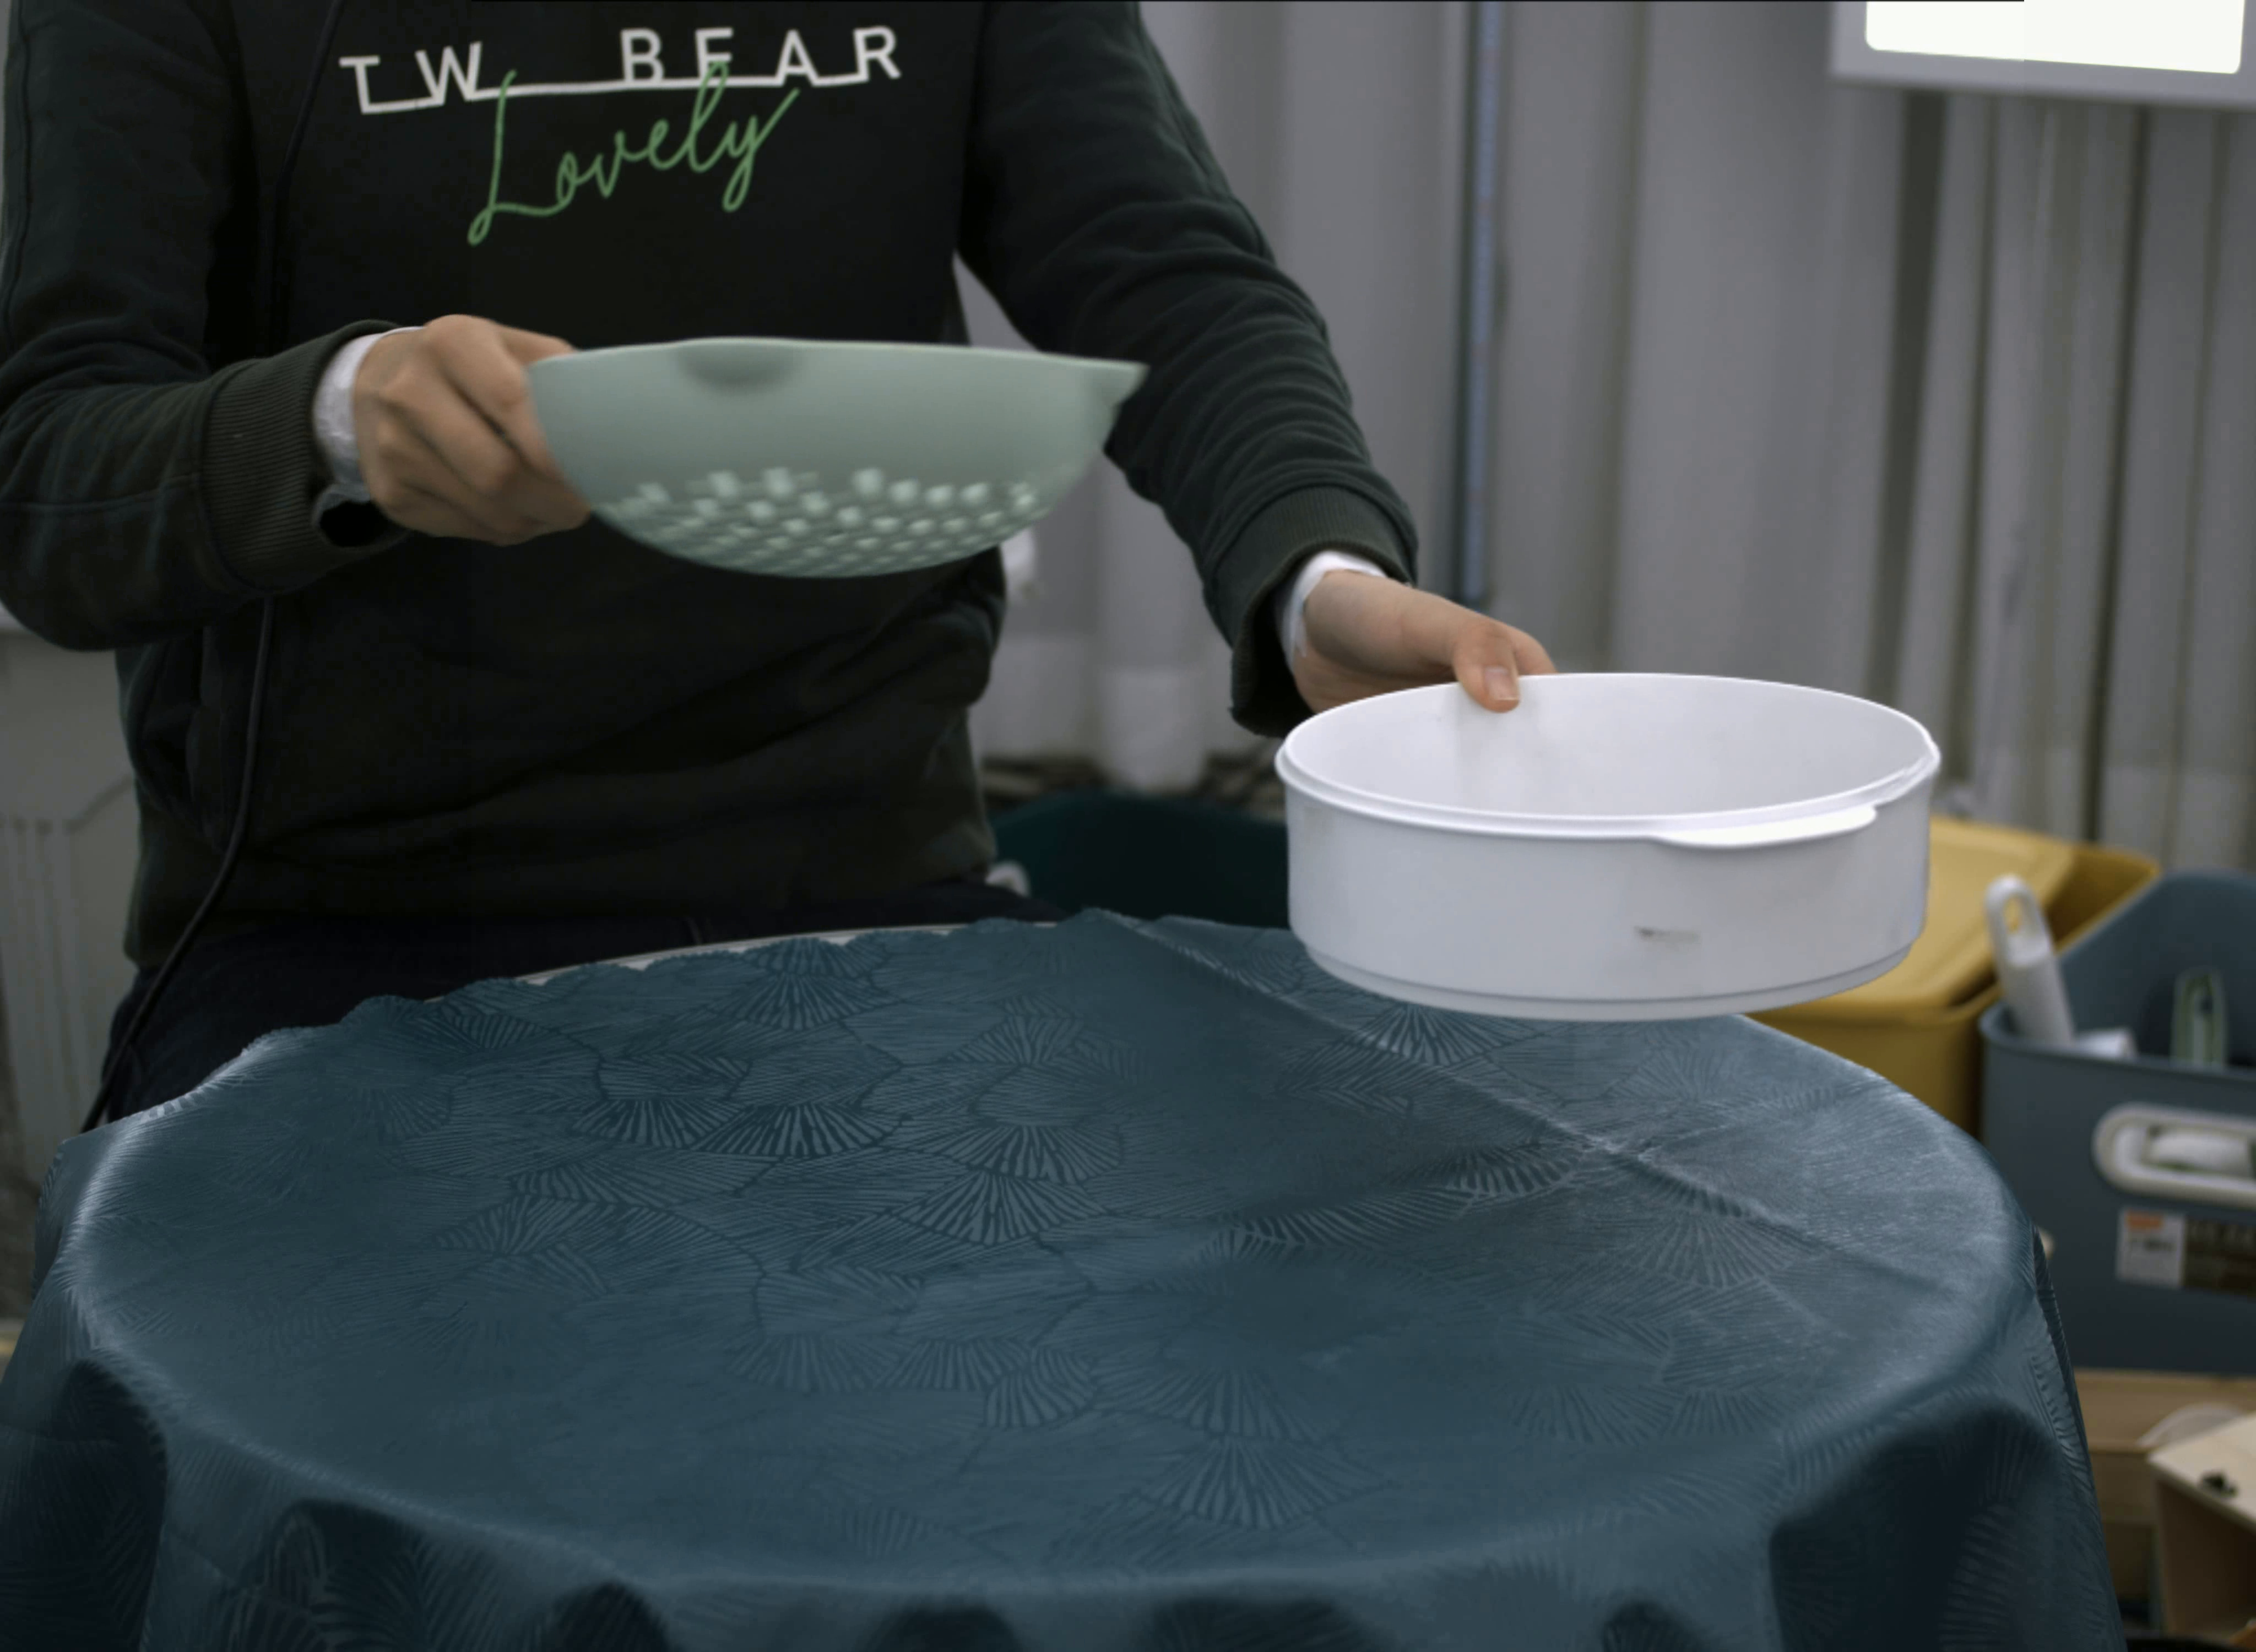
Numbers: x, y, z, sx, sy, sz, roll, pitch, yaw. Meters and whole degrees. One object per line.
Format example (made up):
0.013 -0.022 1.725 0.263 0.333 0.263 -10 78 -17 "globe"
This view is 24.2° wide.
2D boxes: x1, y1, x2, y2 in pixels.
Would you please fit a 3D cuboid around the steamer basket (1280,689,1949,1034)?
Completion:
0.146 0.010 1.594 0.202 0.070 0.228 -6 15 -24 "steamer basket"

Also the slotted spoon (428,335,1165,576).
-0.131 -0.114 1.566 0.170 0.076 0.355 1 6 -32 "slotted spoon"
